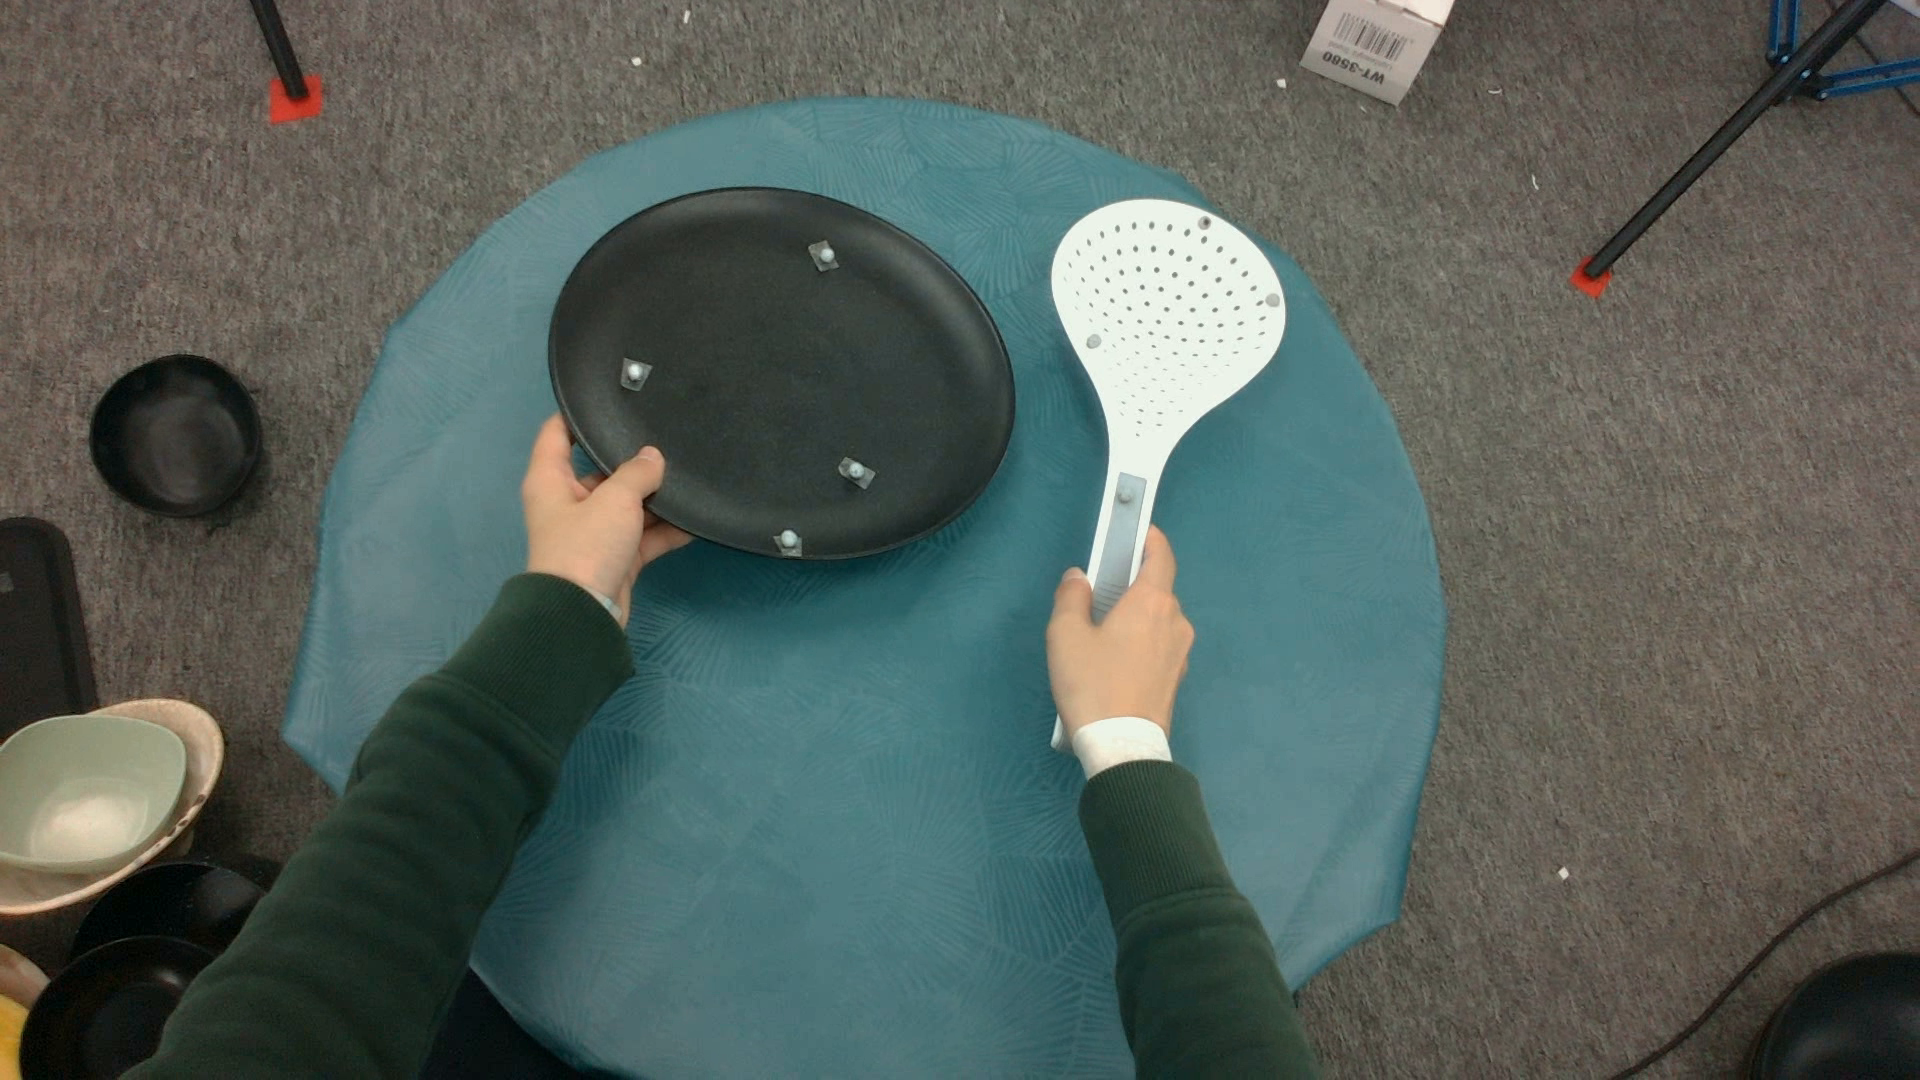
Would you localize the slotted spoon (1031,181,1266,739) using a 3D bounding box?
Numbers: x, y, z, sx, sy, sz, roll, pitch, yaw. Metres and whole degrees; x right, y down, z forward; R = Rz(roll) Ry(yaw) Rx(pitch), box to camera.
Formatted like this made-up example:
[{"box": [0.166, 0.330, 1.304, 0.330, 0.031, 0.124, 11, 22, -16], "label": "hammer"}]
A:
[{"box": [0.085, -0.056, 0.736, 0.136, 0.045, 0.351, 15, 56, -2], "label": "slotted spoon"}]

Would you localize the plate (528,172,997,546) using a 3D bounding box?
[{"box": [-0.100, -0.098, 0.725, 0.244, 0.023, 0.245, 8, 57, -13], "label": "plate"}]
